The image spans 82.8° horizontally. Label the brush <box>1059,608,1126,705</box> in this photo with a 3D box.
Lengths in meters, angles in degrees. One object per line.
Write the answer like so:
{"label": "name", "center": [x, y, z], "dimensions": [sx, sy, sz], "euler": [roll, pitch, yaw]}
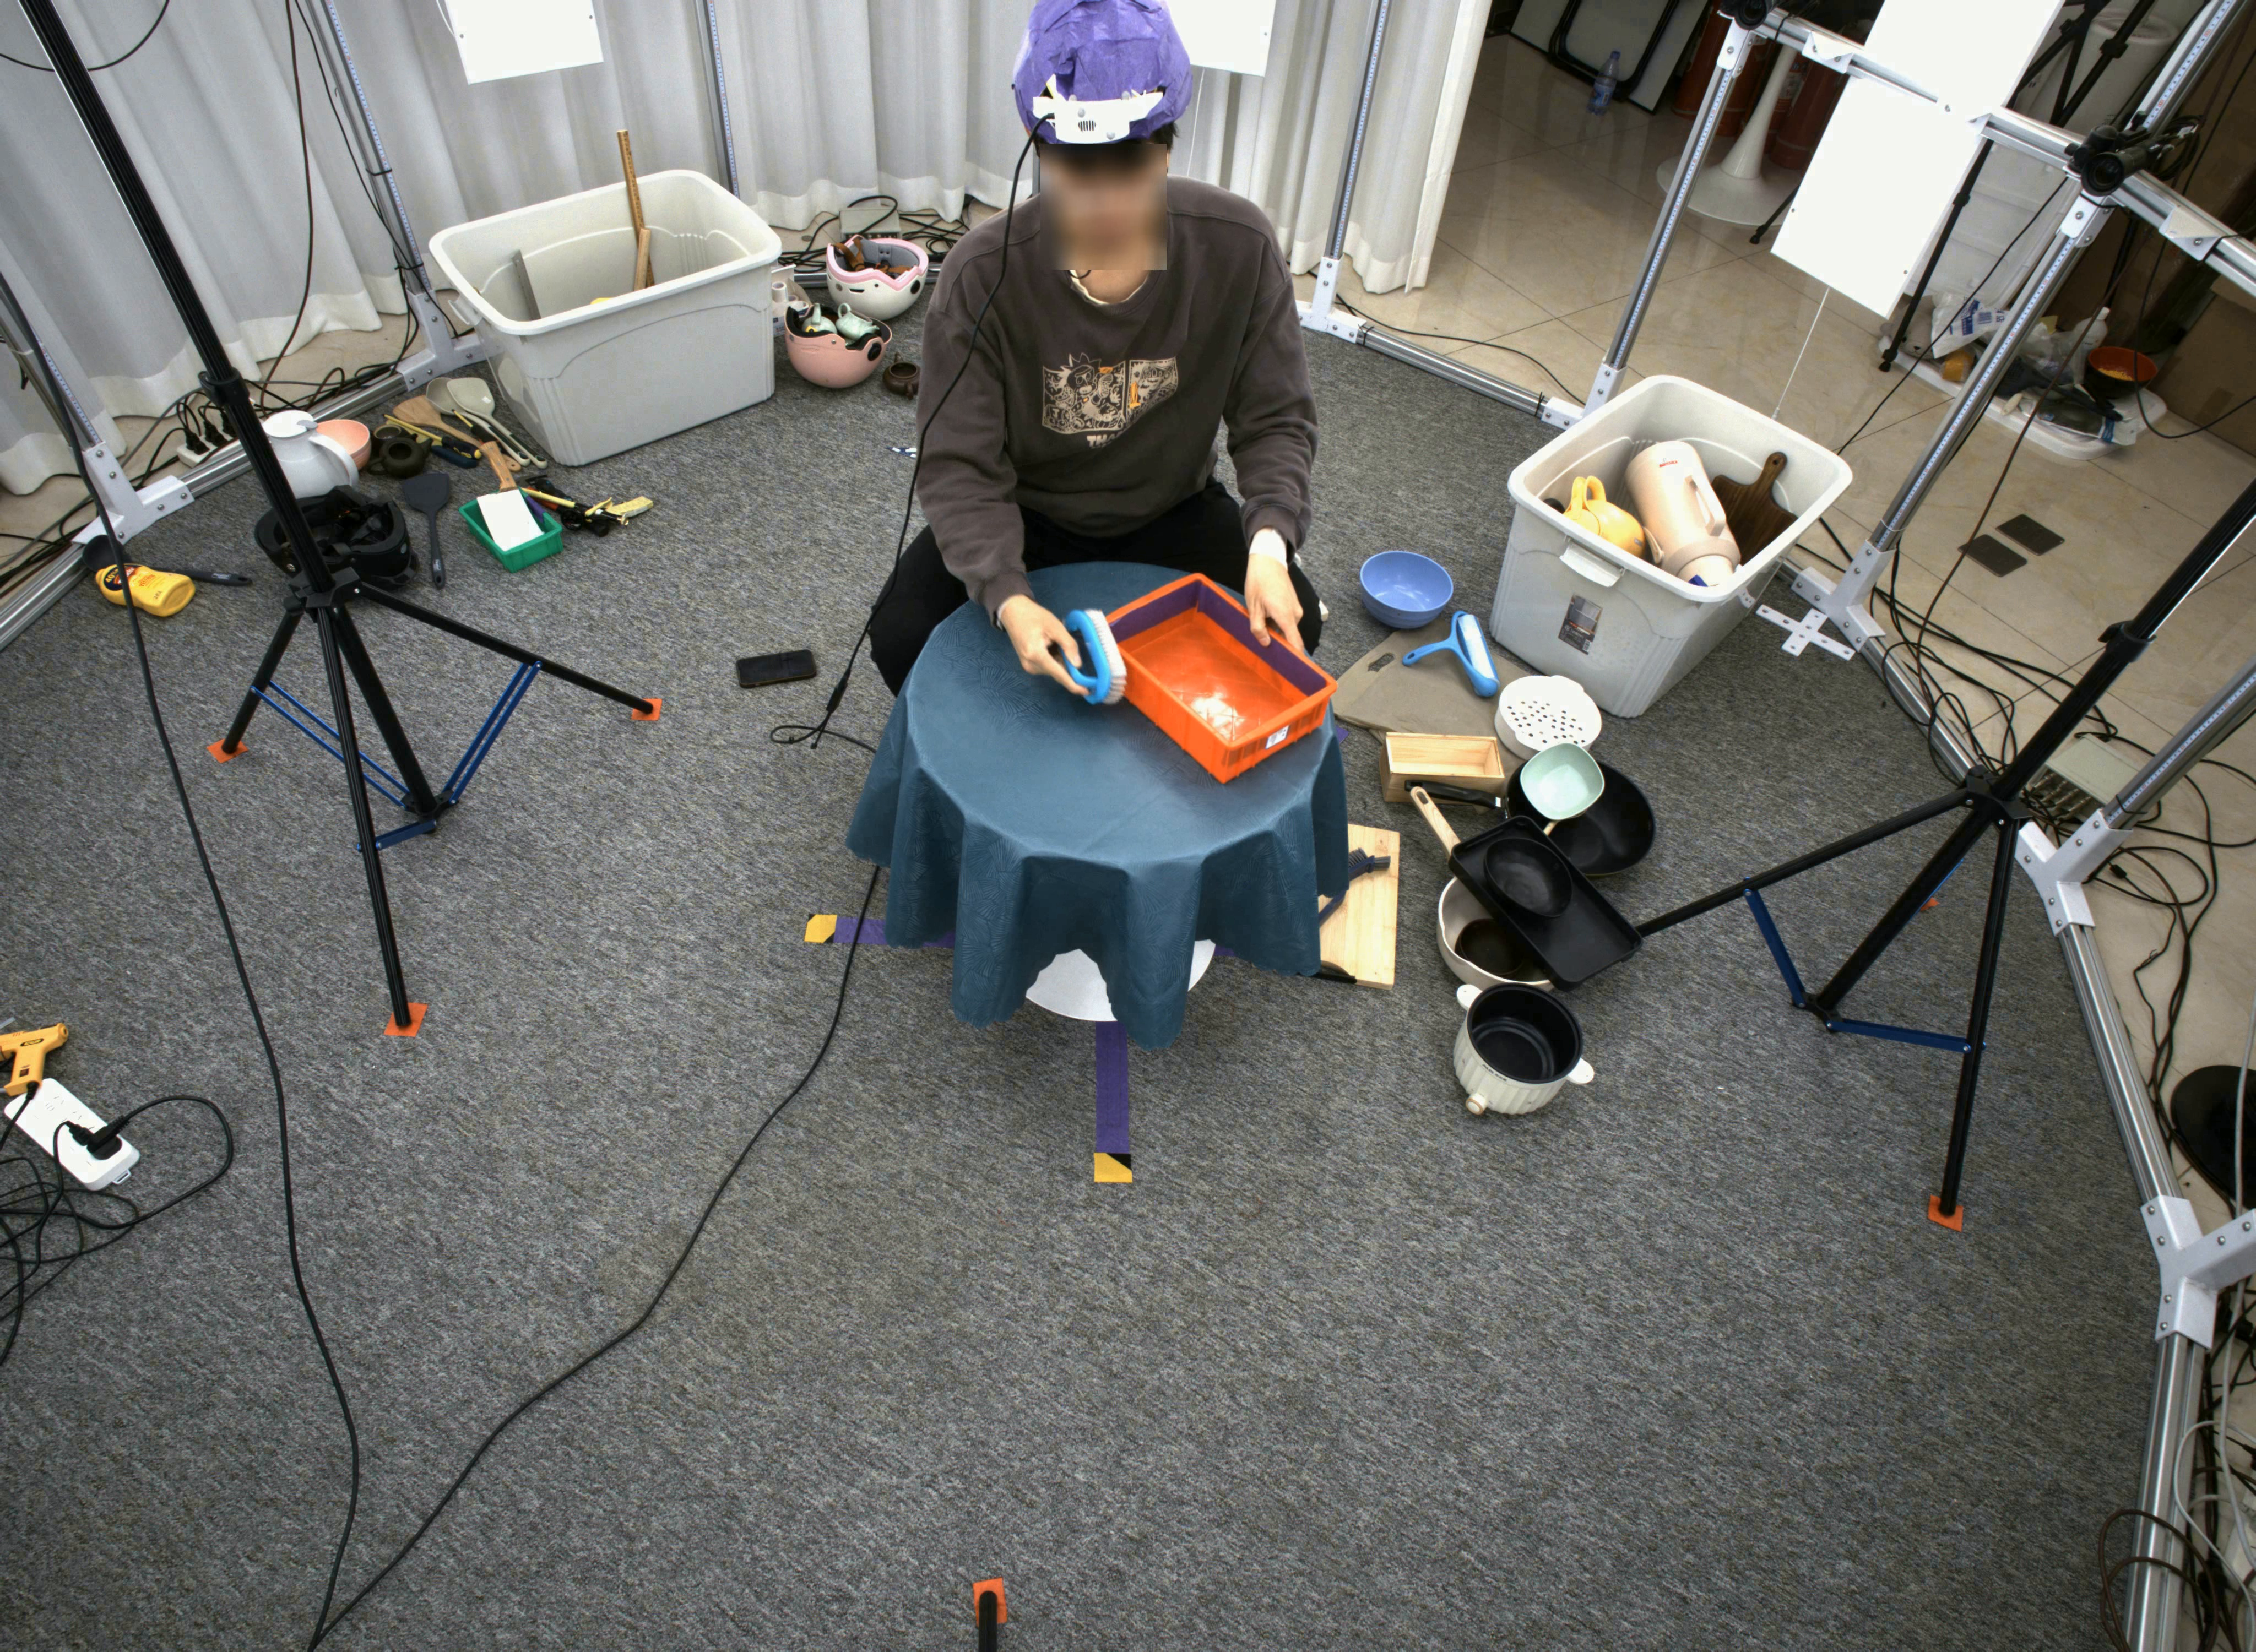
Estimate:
{"label": "brush", "center": [-0.058, -0.230, 1.763], "dimensions": [0.063, 0.083, 0.144], "euler": [-8, 71, -31]}

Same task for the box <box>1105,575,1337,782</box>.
{"label": "box", "center": [0.114, -0.208, 1.798], "dimensions": [0.208, 0.094, 0.309], "euler": [-29, 57, -26]}
